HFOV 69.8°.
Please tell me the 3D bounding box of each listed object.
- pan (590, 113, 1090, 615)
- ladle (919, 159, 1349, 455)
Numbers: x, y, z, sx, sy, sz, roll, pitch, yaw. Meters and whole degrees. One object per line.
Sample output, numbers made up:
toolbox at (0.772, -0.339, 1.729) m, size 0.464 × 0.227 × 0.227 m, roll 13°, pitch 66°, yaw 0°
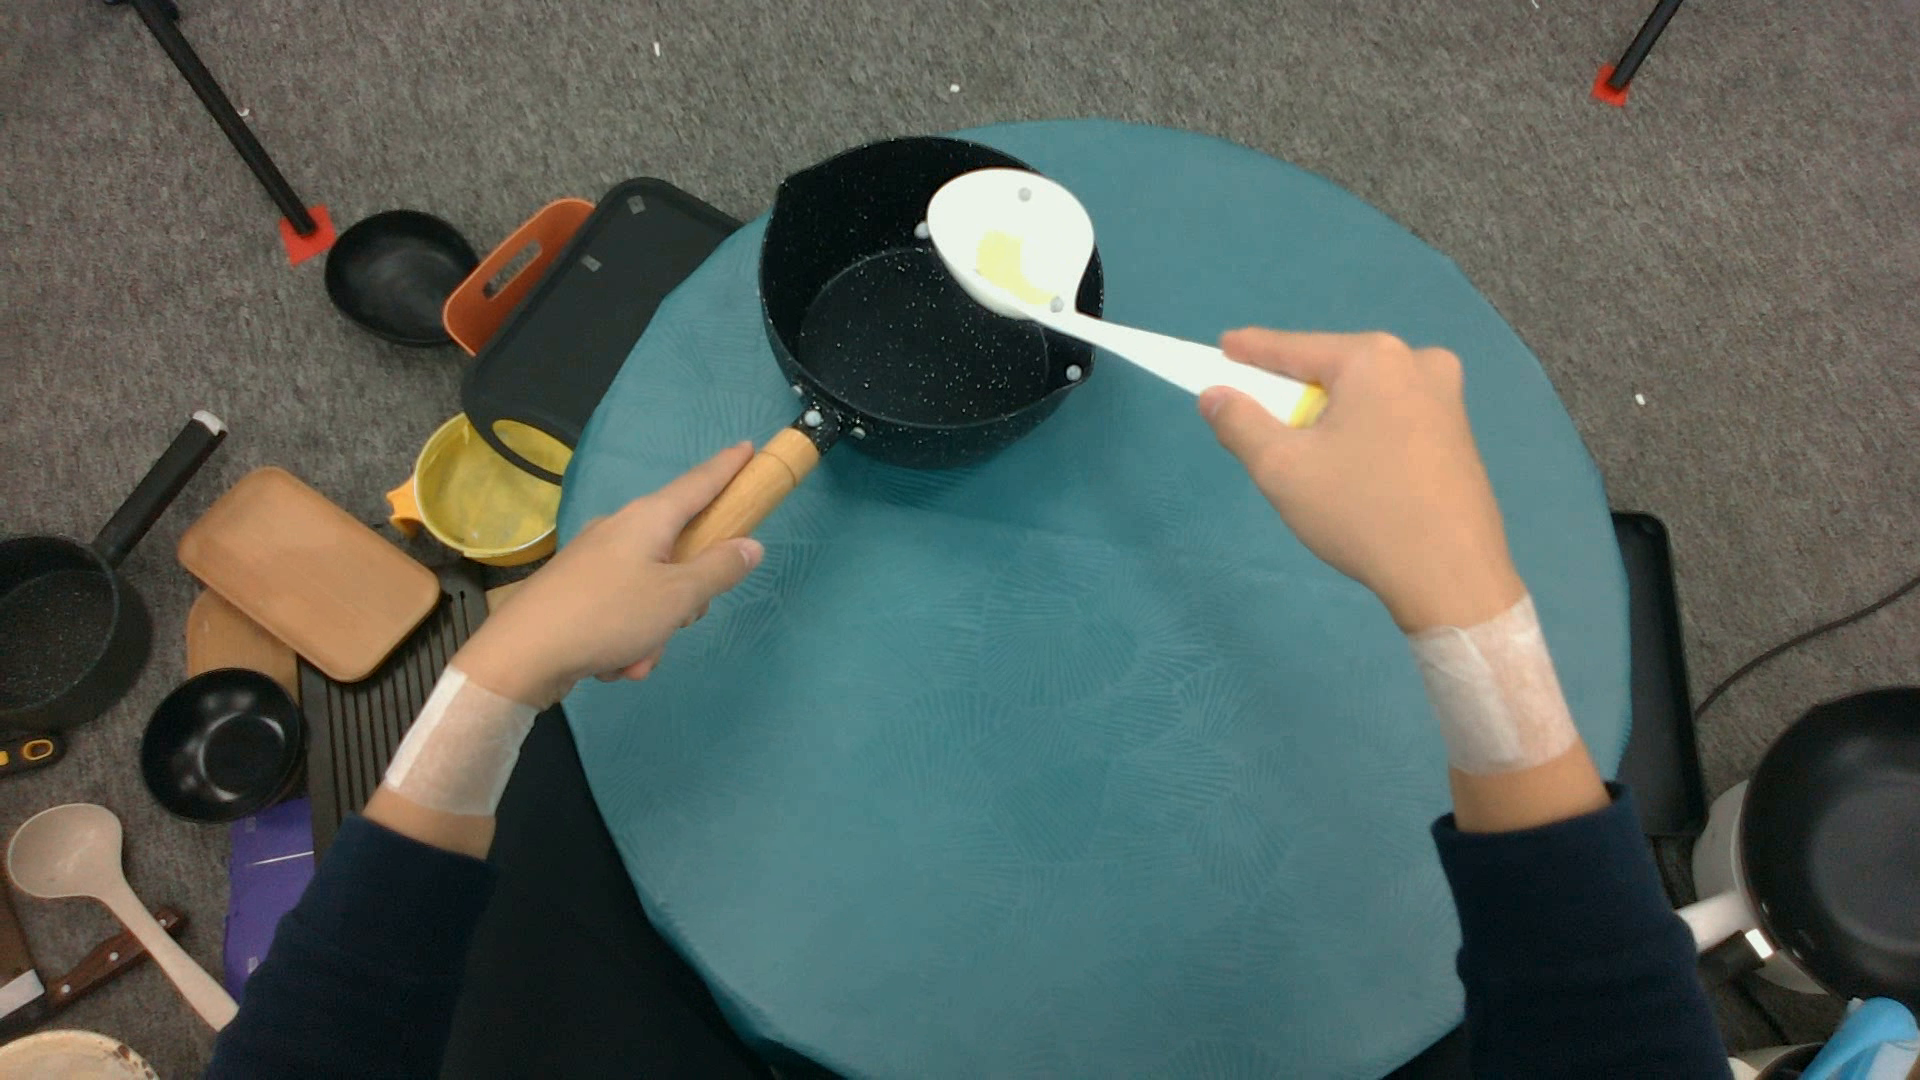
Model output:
pan at (-0.068, -0.079, 0.724) m, size 0.207 × 0.108 × 0.344 m, roll 32°, pitch 66°, yaw 7°
ladle at (0.071, -0.117, 0.632) m, size 0.090 × 0.293 × 0.070 m, roll -2°, pitch 112°, yaw -29°
